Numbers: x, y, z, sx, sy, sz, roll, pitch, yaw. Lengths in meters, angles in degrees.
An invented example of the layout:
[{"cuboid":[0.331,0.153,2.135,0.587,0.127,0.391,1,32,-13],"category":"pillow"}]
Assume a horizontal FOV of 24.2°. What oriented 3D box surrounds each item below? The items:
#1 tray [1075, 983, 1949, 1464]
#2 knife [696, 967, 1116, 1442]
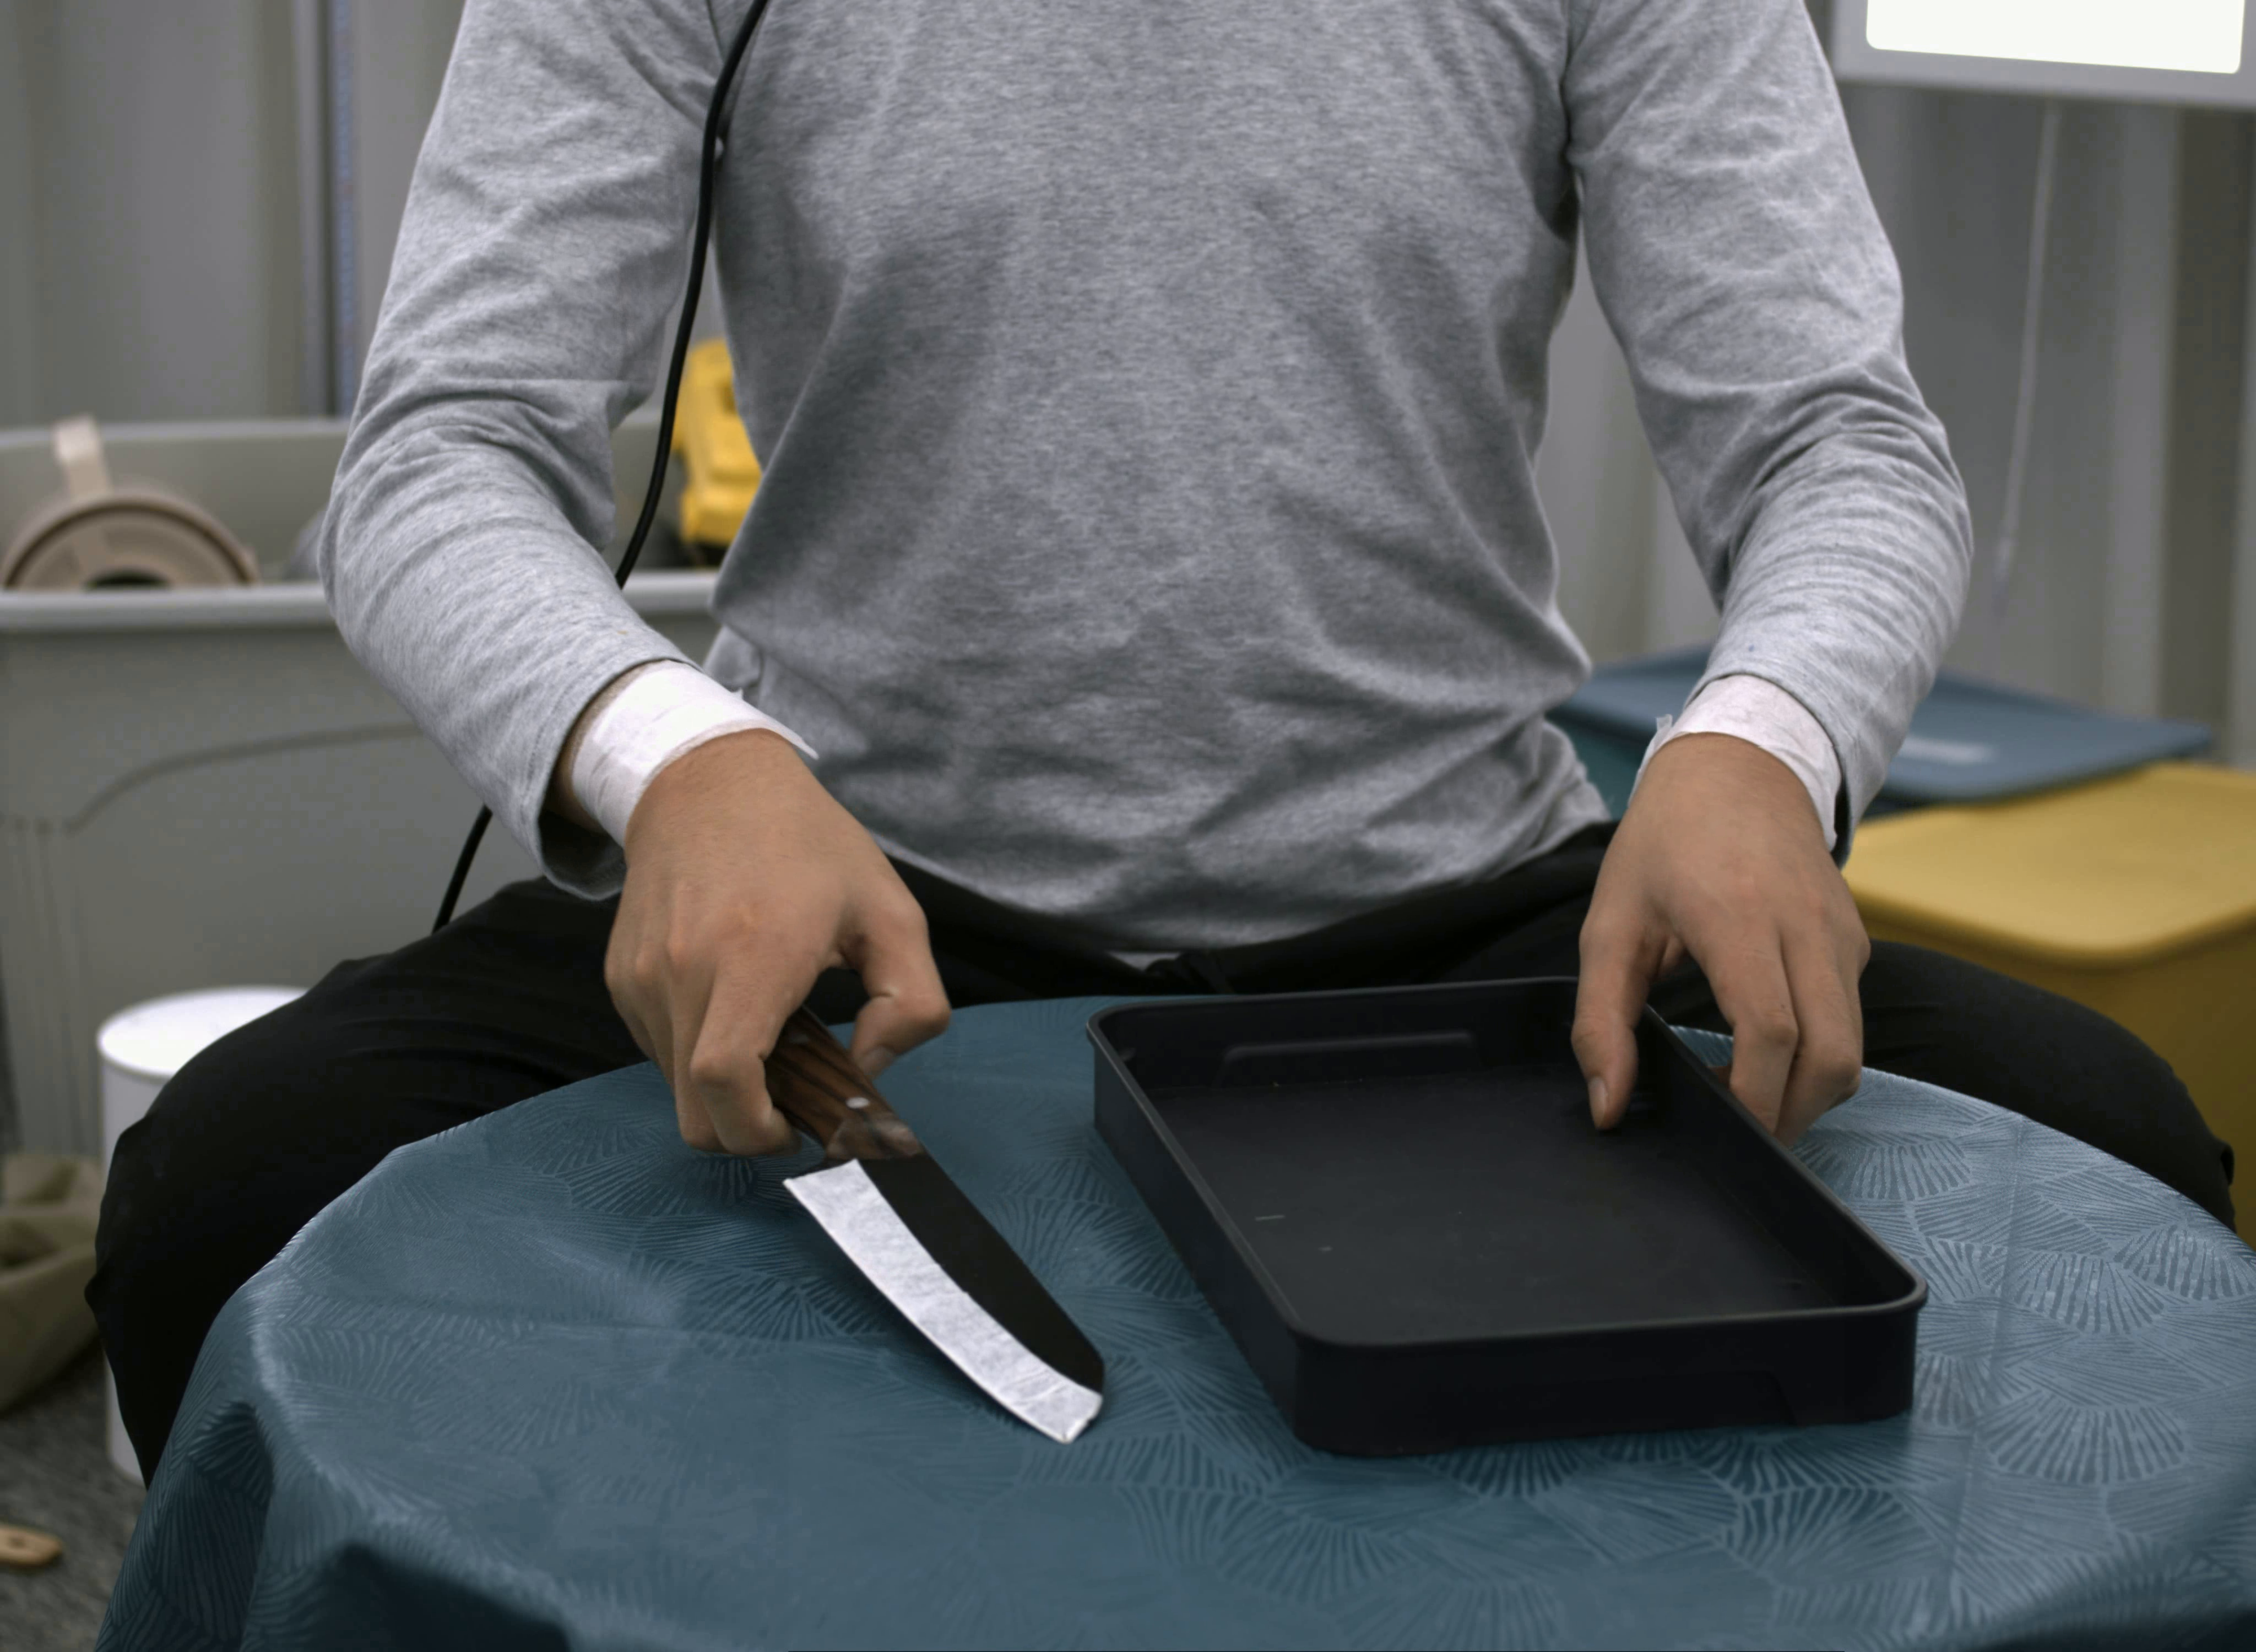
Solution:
[{"cuboid":[0.104,0.111,1.566,0.184,0.037,0.315,-3,15,-14],"category":"tray"},{"cuboid":[-0.069,0.109,1.543,0.050,0.020,0.285,-14,29,-20],"category":"knife"}]
